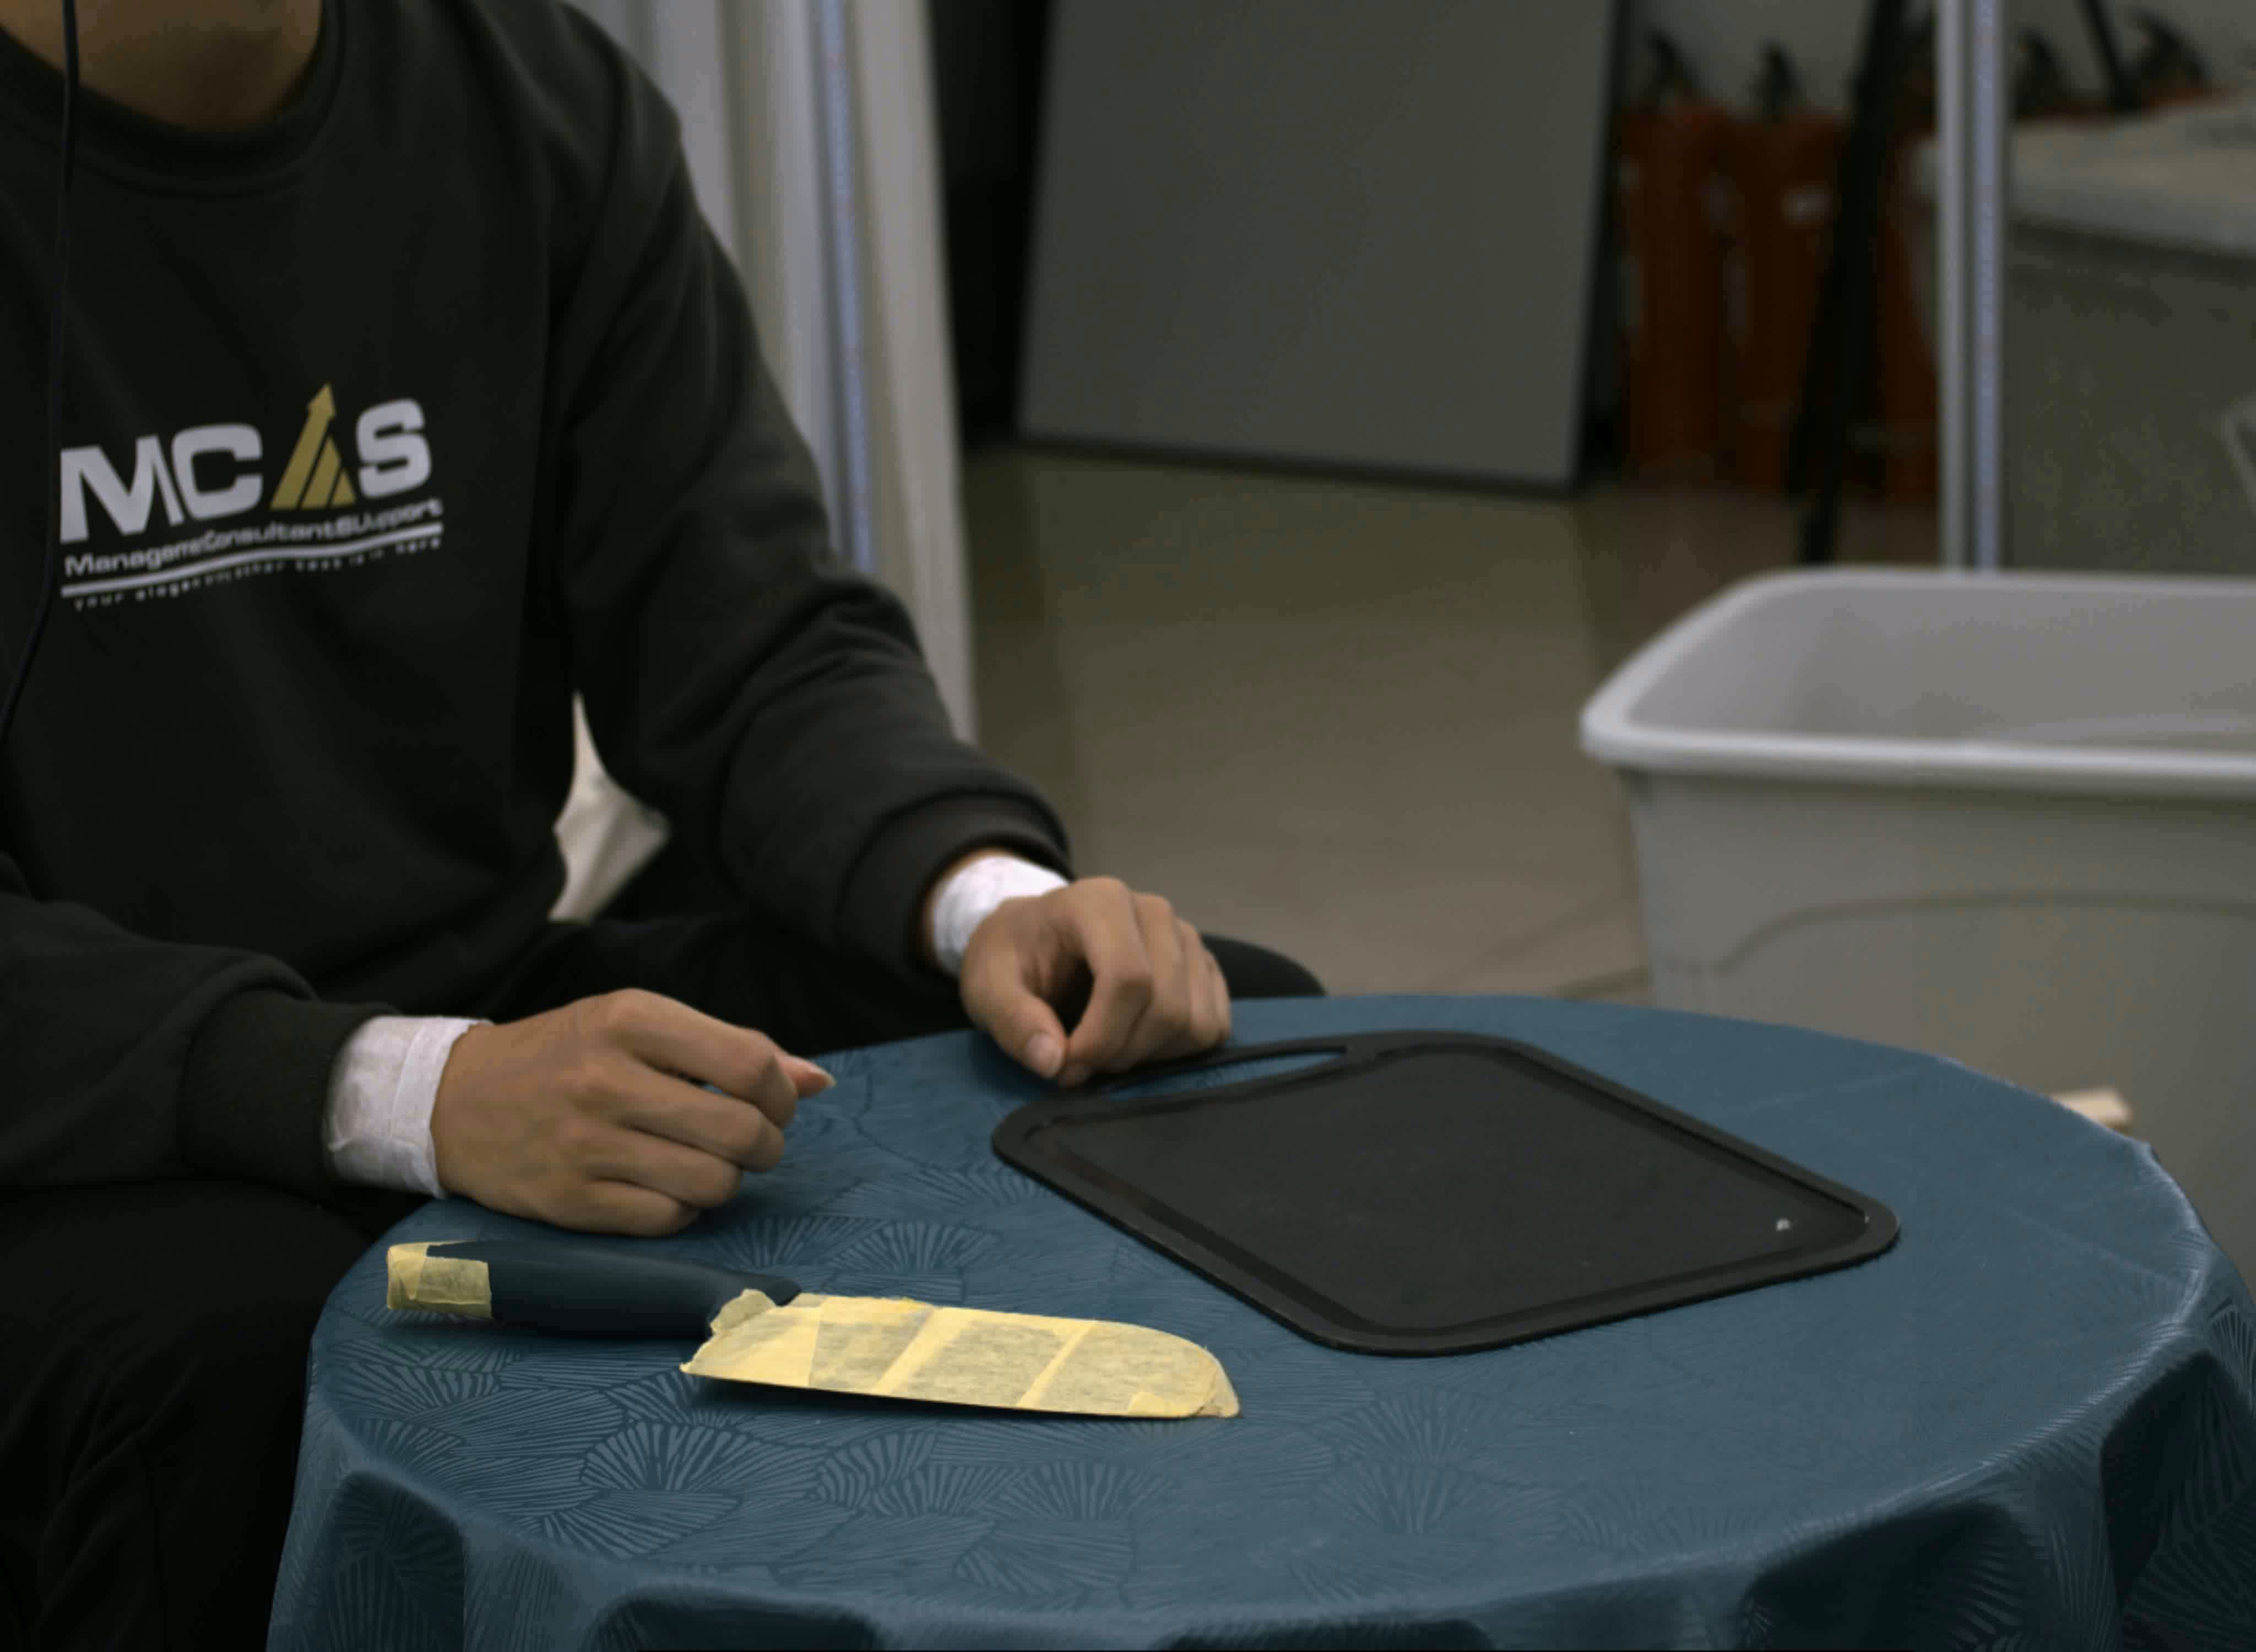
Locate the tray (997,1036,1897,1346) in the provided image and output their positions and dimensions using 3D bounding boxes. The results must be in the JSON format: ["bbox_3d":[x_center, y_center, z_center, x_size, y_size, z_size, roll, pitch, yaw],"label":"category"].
[{"bbox_3d":[0.094,0.113,1.766,0.206,0.010,0.329,-10,15,-23],"label":"tray"}]

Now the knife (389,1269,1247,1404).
[{"bbox_3d":[-0.099,0.157,1.627,0.289,0.027,0.080,2,13,21],"label":"knife"}]
